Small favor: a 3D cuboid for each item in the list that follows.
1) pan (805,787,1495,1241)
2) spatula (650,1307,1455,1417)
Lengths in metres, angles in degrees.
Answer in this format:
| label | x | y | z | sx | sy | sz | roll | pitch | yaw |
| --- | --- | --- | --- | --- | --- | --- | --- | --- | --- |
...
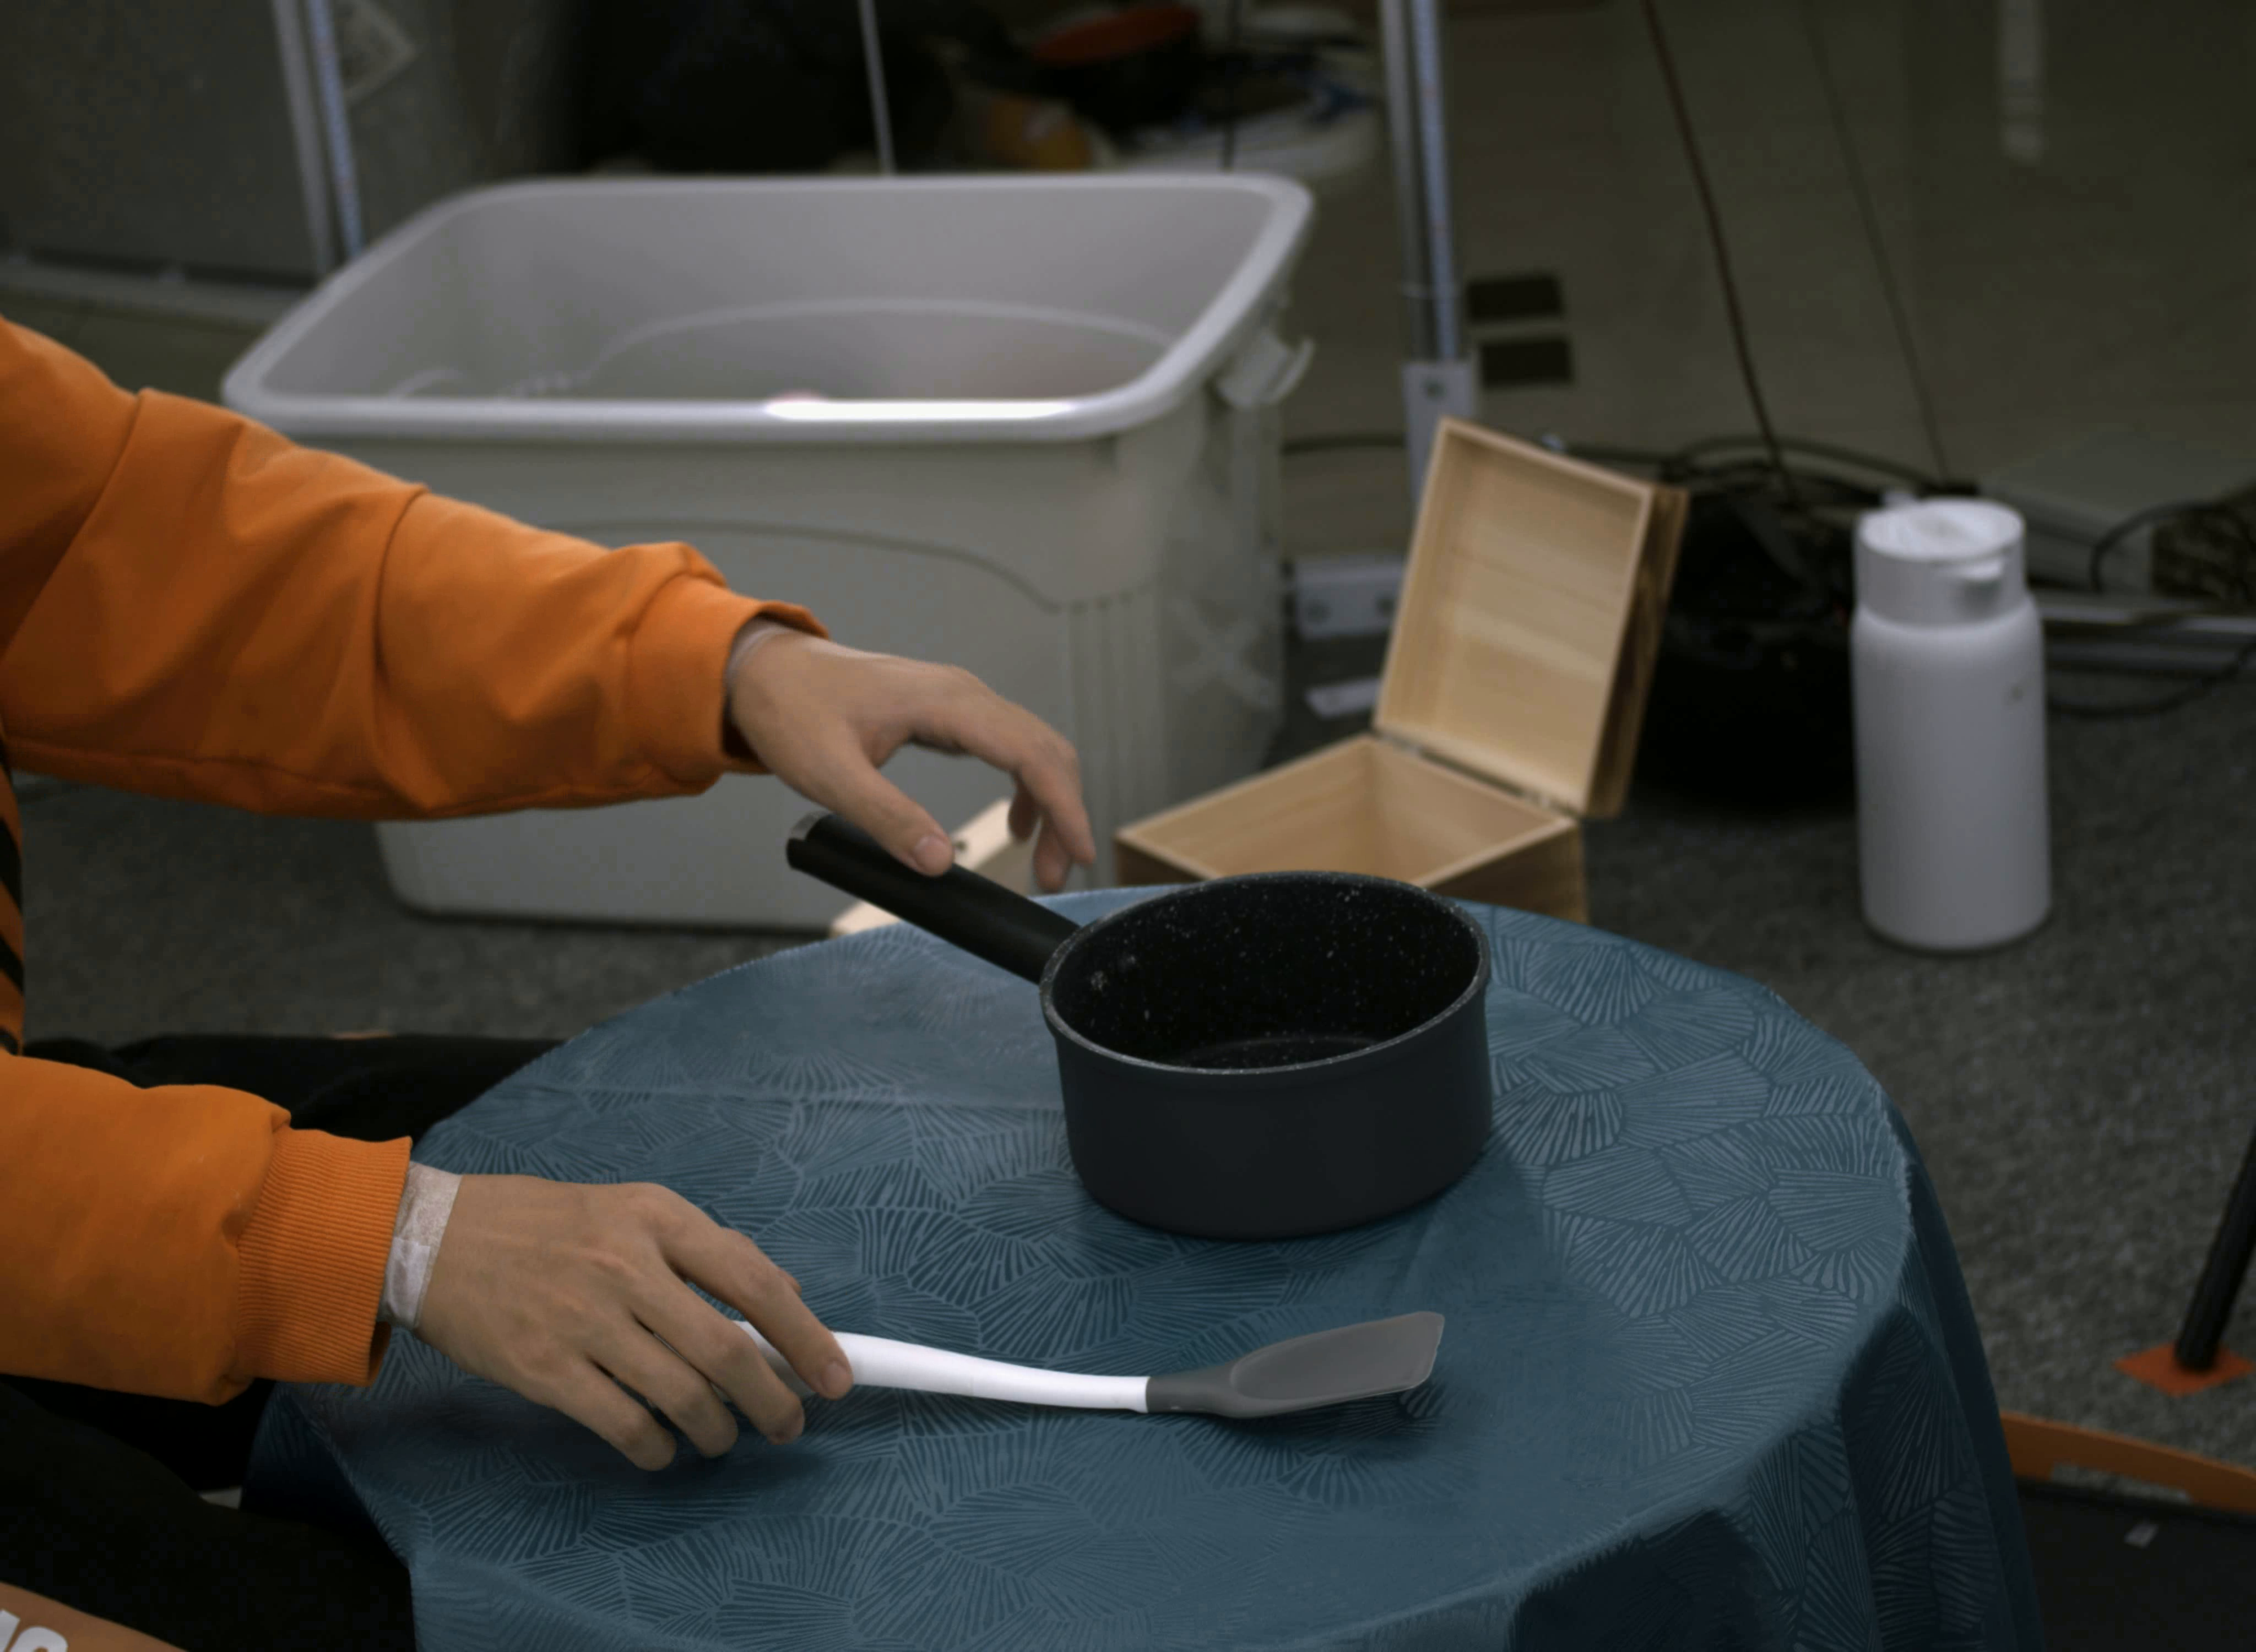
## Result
| label | x | y | z | sx | sy | sz | roll | pitch | yaw |
| --- | --- | --- | --- | --- | --- | --- | --- | --- | --- |
| pan | -0.002 | 0.066 | 2.202 | 0.326 | 0.088 | 0.170 | 19 | 35 | 40 |
| spatula | -0.027 | 0.191 | 2.004 | 0.287 | 0.032 | 0.058 | -1 | 21 | 13 |
